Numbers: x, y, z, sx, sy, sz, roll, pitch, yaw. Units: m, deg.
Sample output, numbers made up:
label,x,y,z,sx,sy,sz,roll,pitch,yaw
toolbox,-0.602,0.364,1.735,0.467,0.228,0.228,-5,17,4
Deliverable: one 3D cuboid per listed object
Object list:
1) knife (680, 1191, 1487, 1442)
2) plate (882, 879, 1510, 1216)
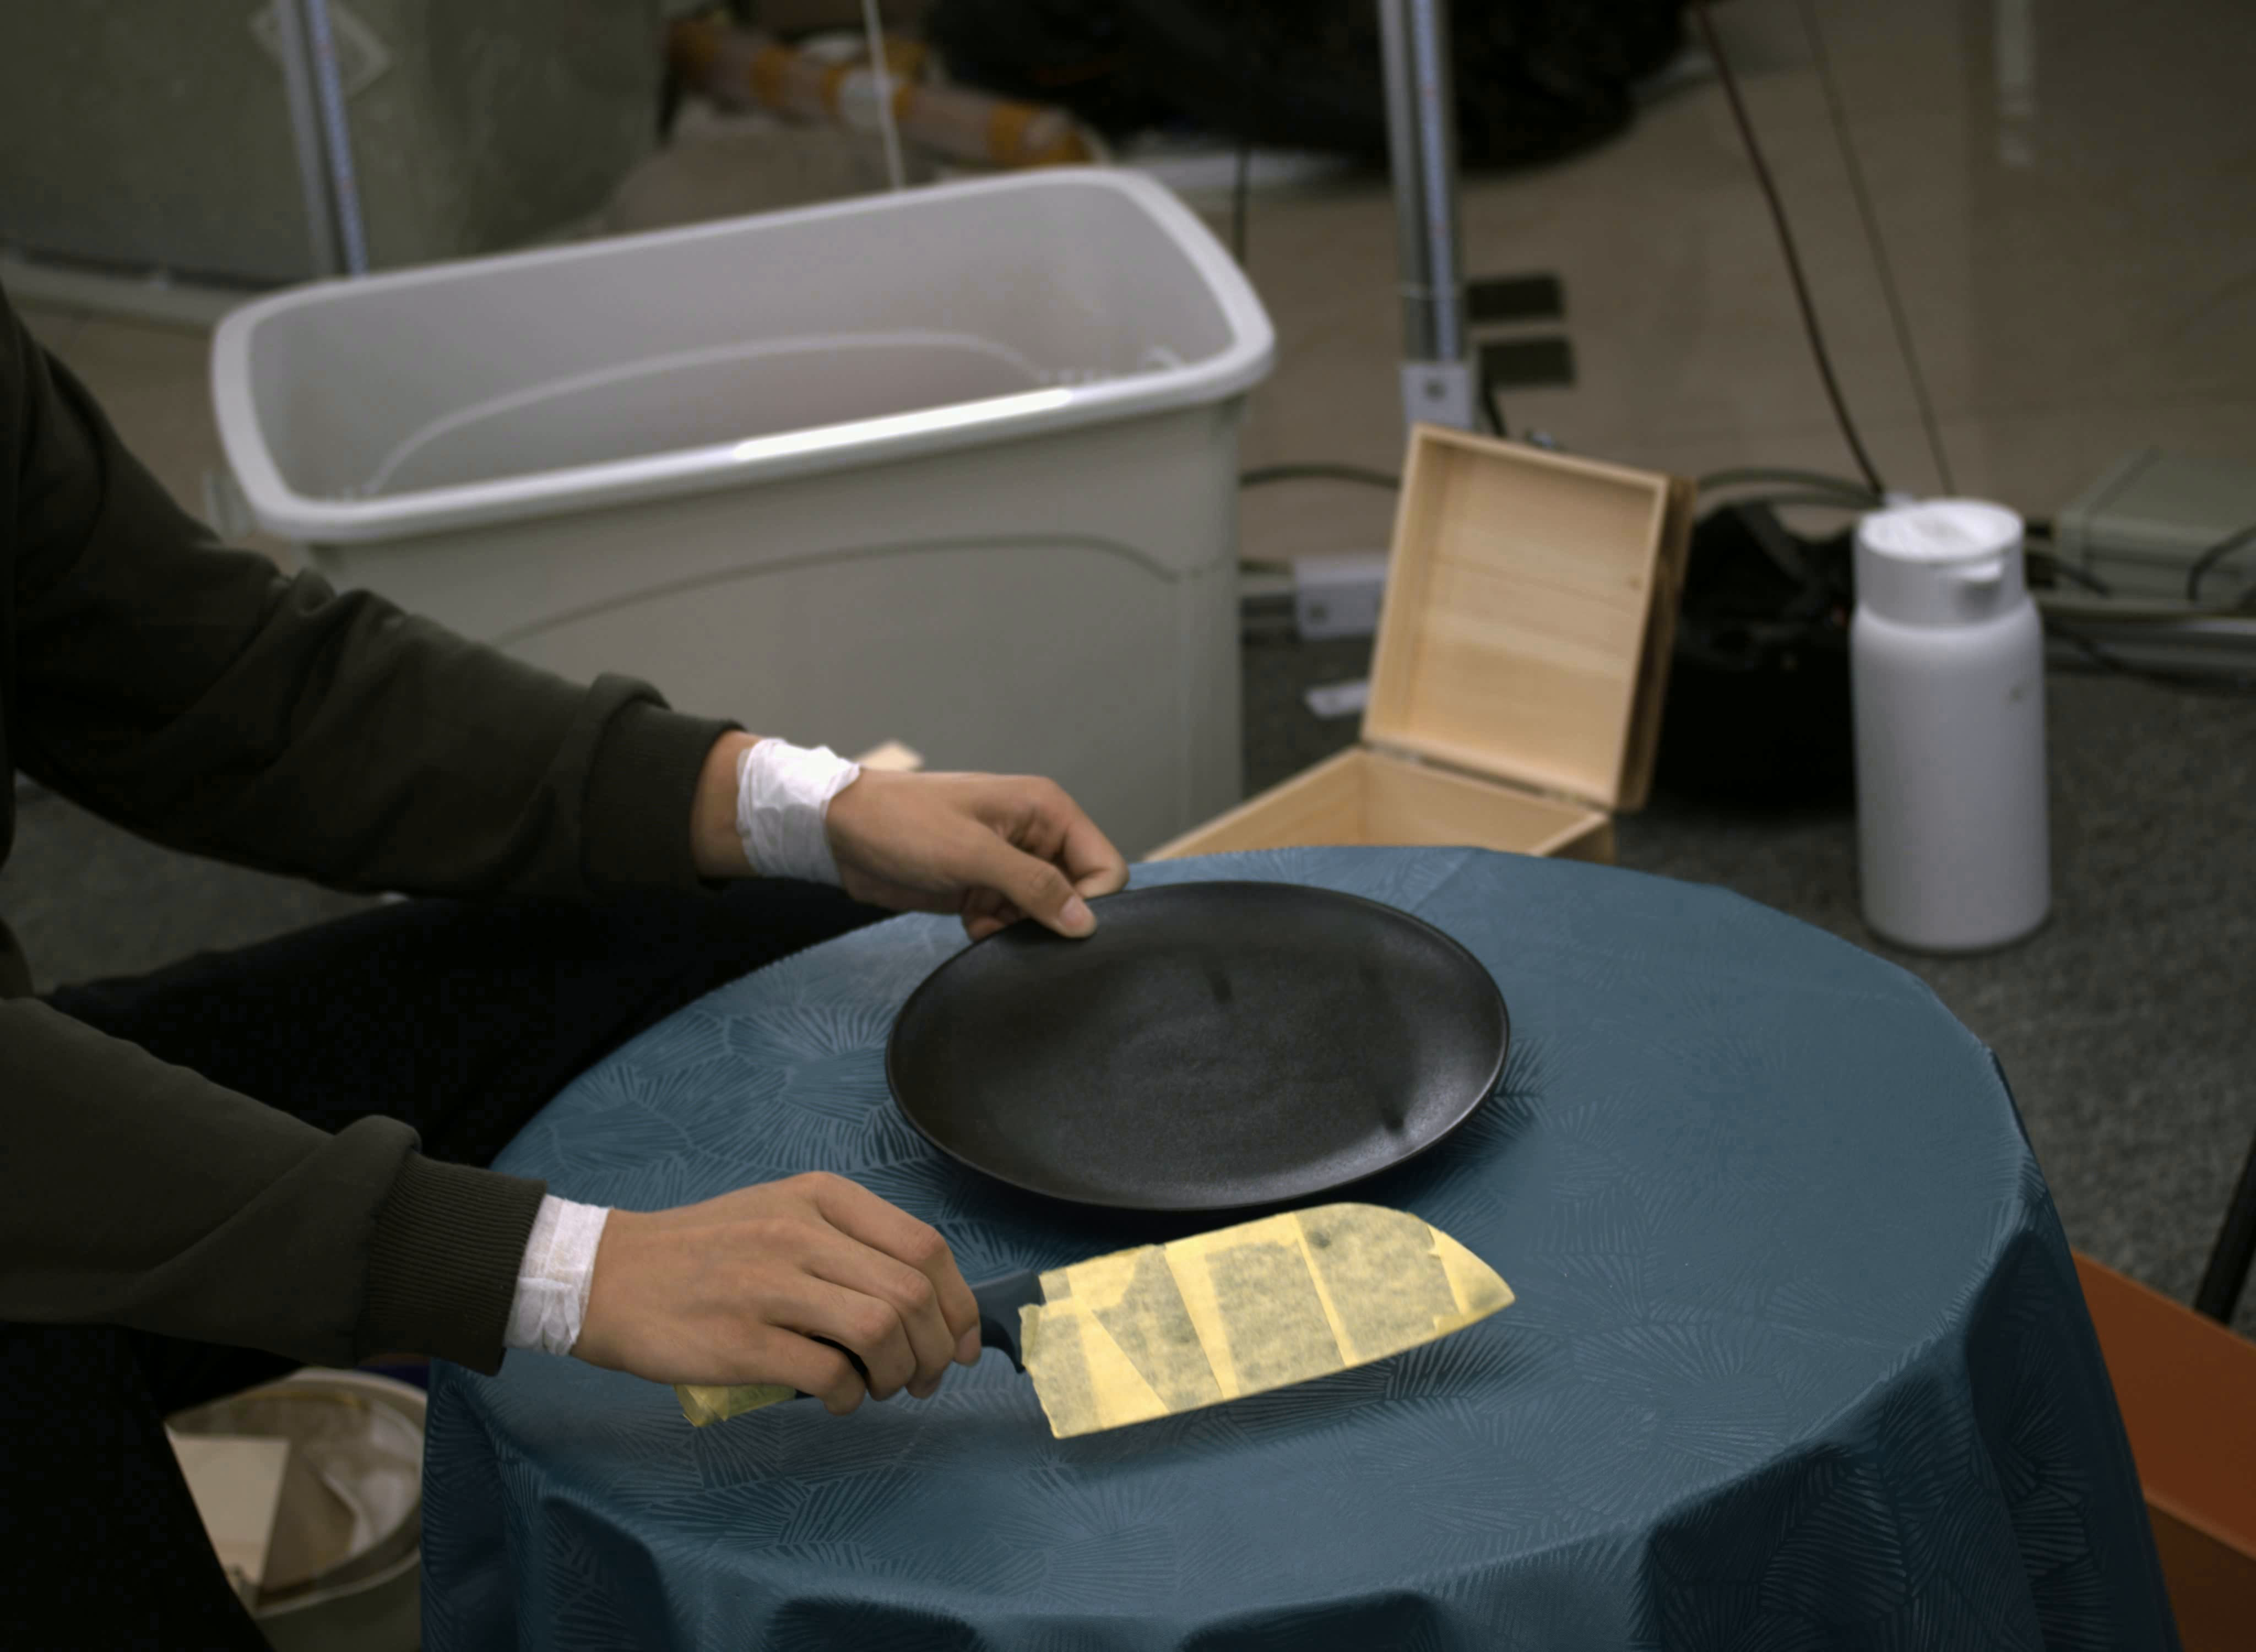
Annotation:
label,x,y,z,sx,sy,sz,roll,pitch,yaw
knife,-0.014,0.180,1.992,0.289,0.028,0.079,-13,46,-6
plate,0.027,0.091,2.199,0.244,0.024,0.240,-2,30,1
